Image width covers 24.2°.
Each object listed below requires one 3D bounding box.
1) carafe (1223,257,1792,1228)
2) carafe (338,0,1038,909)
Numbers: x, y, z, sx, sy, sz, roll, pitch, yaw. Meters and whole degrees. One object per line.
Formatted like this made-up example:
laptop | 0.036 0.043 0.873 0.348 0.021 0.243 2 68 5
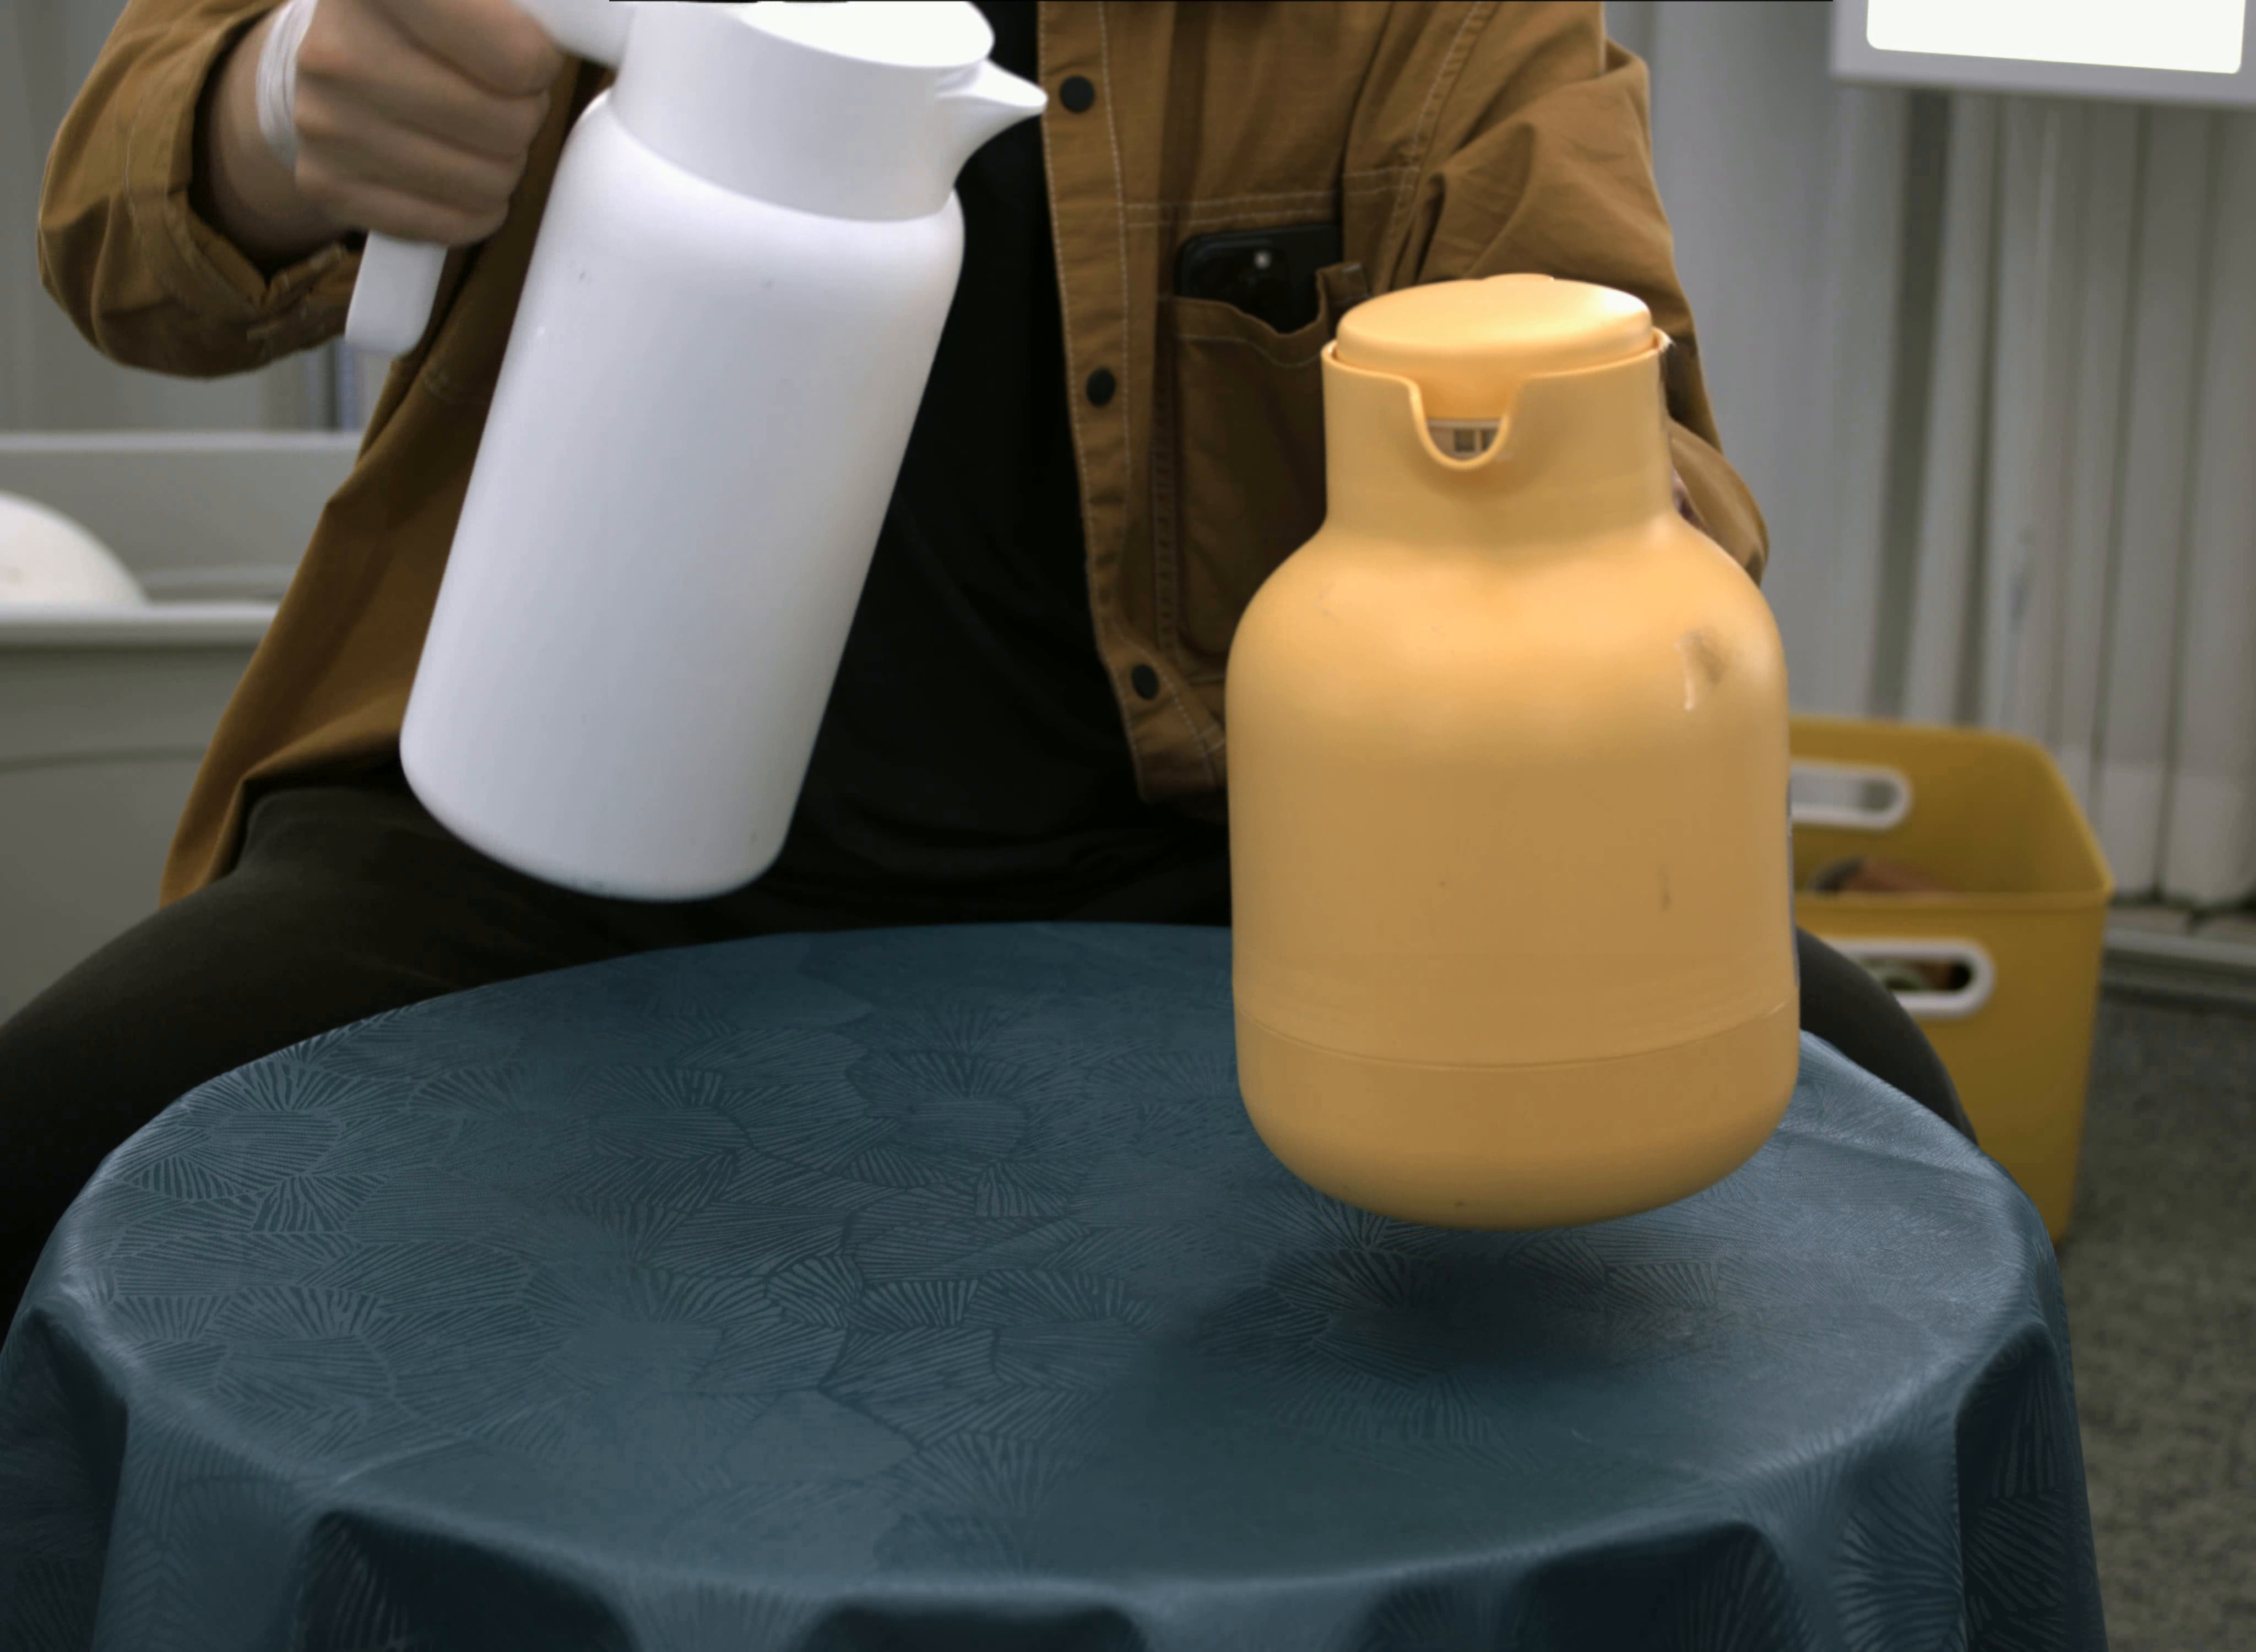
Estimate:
carafe | 0.113 -0.032 1.511 0.162 0.263 0.202 3 19 12
carafe | -0.140 -0.122 1.493 0.172 0.271 0.123 18 27 2
